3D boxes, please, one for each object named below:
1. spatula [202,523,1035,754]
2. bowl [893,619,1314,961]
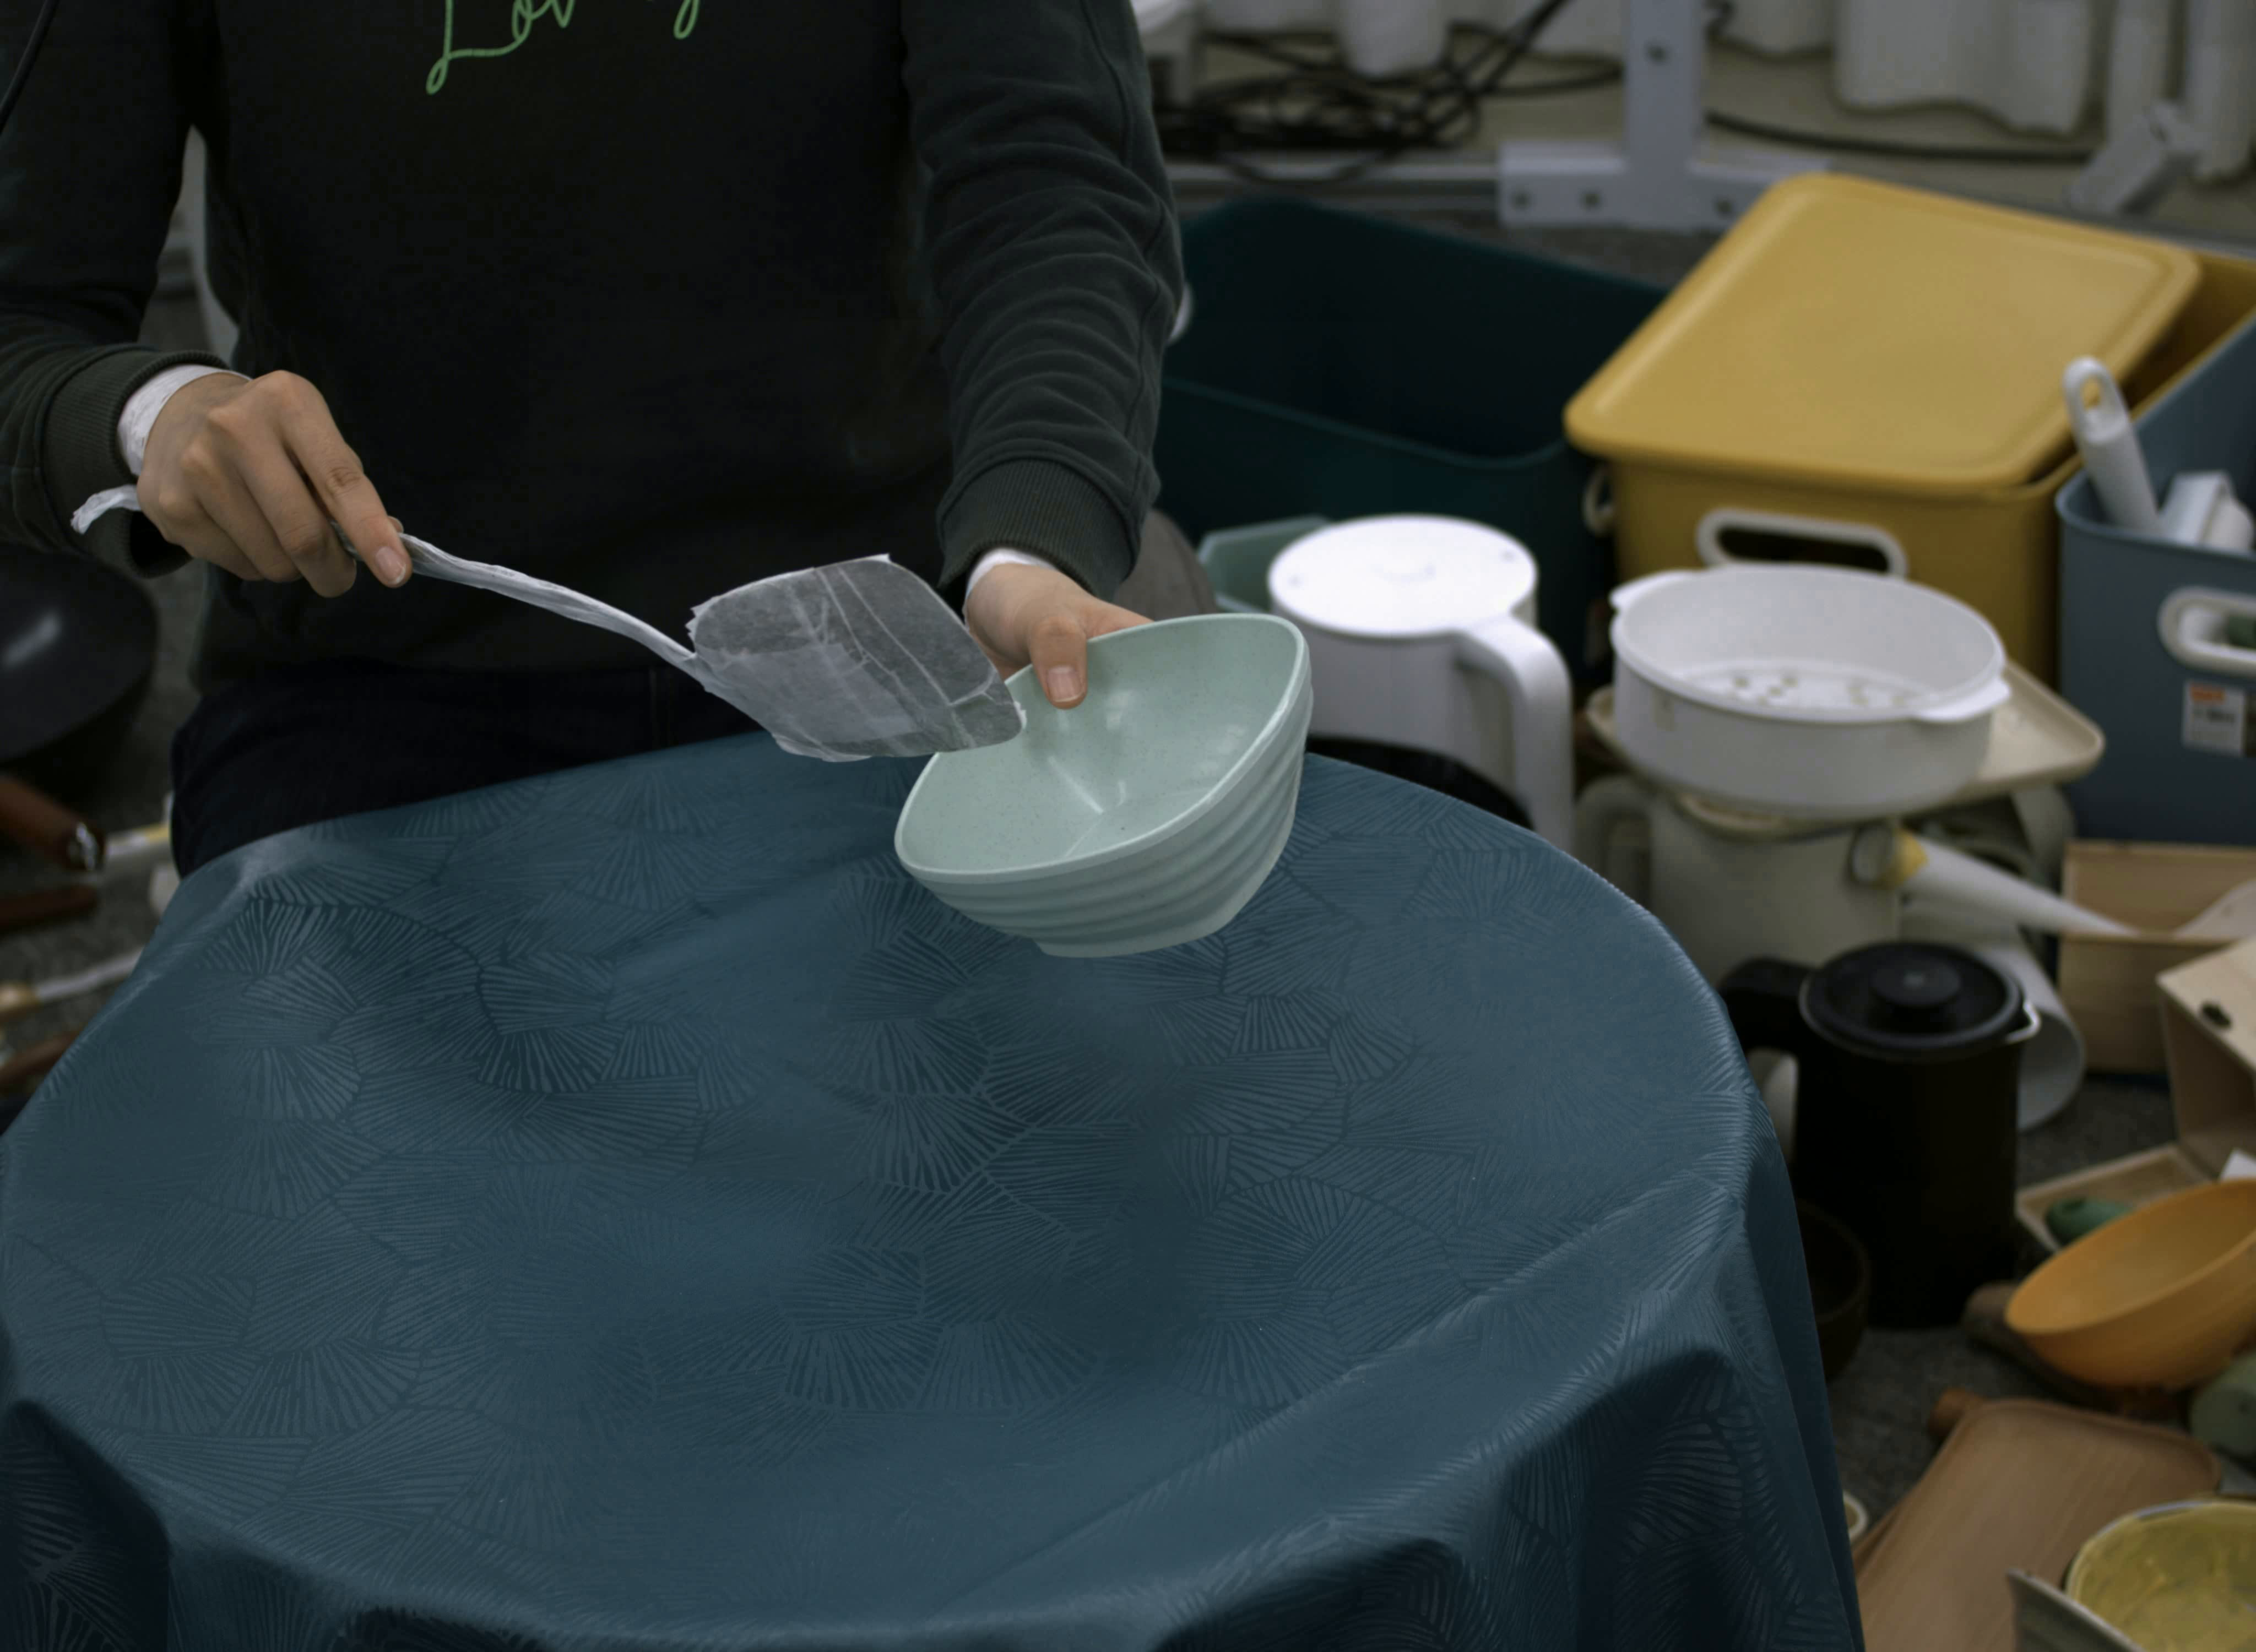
[{"bbox_3d":[-0.186,-0.077,1.869,0.363,0.098,0.045,15,64,40],"label":"spatula"},{"bbox_3d":[0.001,-0.004,1.844,0.150,0.058,0.154,-18,29,11],"label":"bowl"}]
